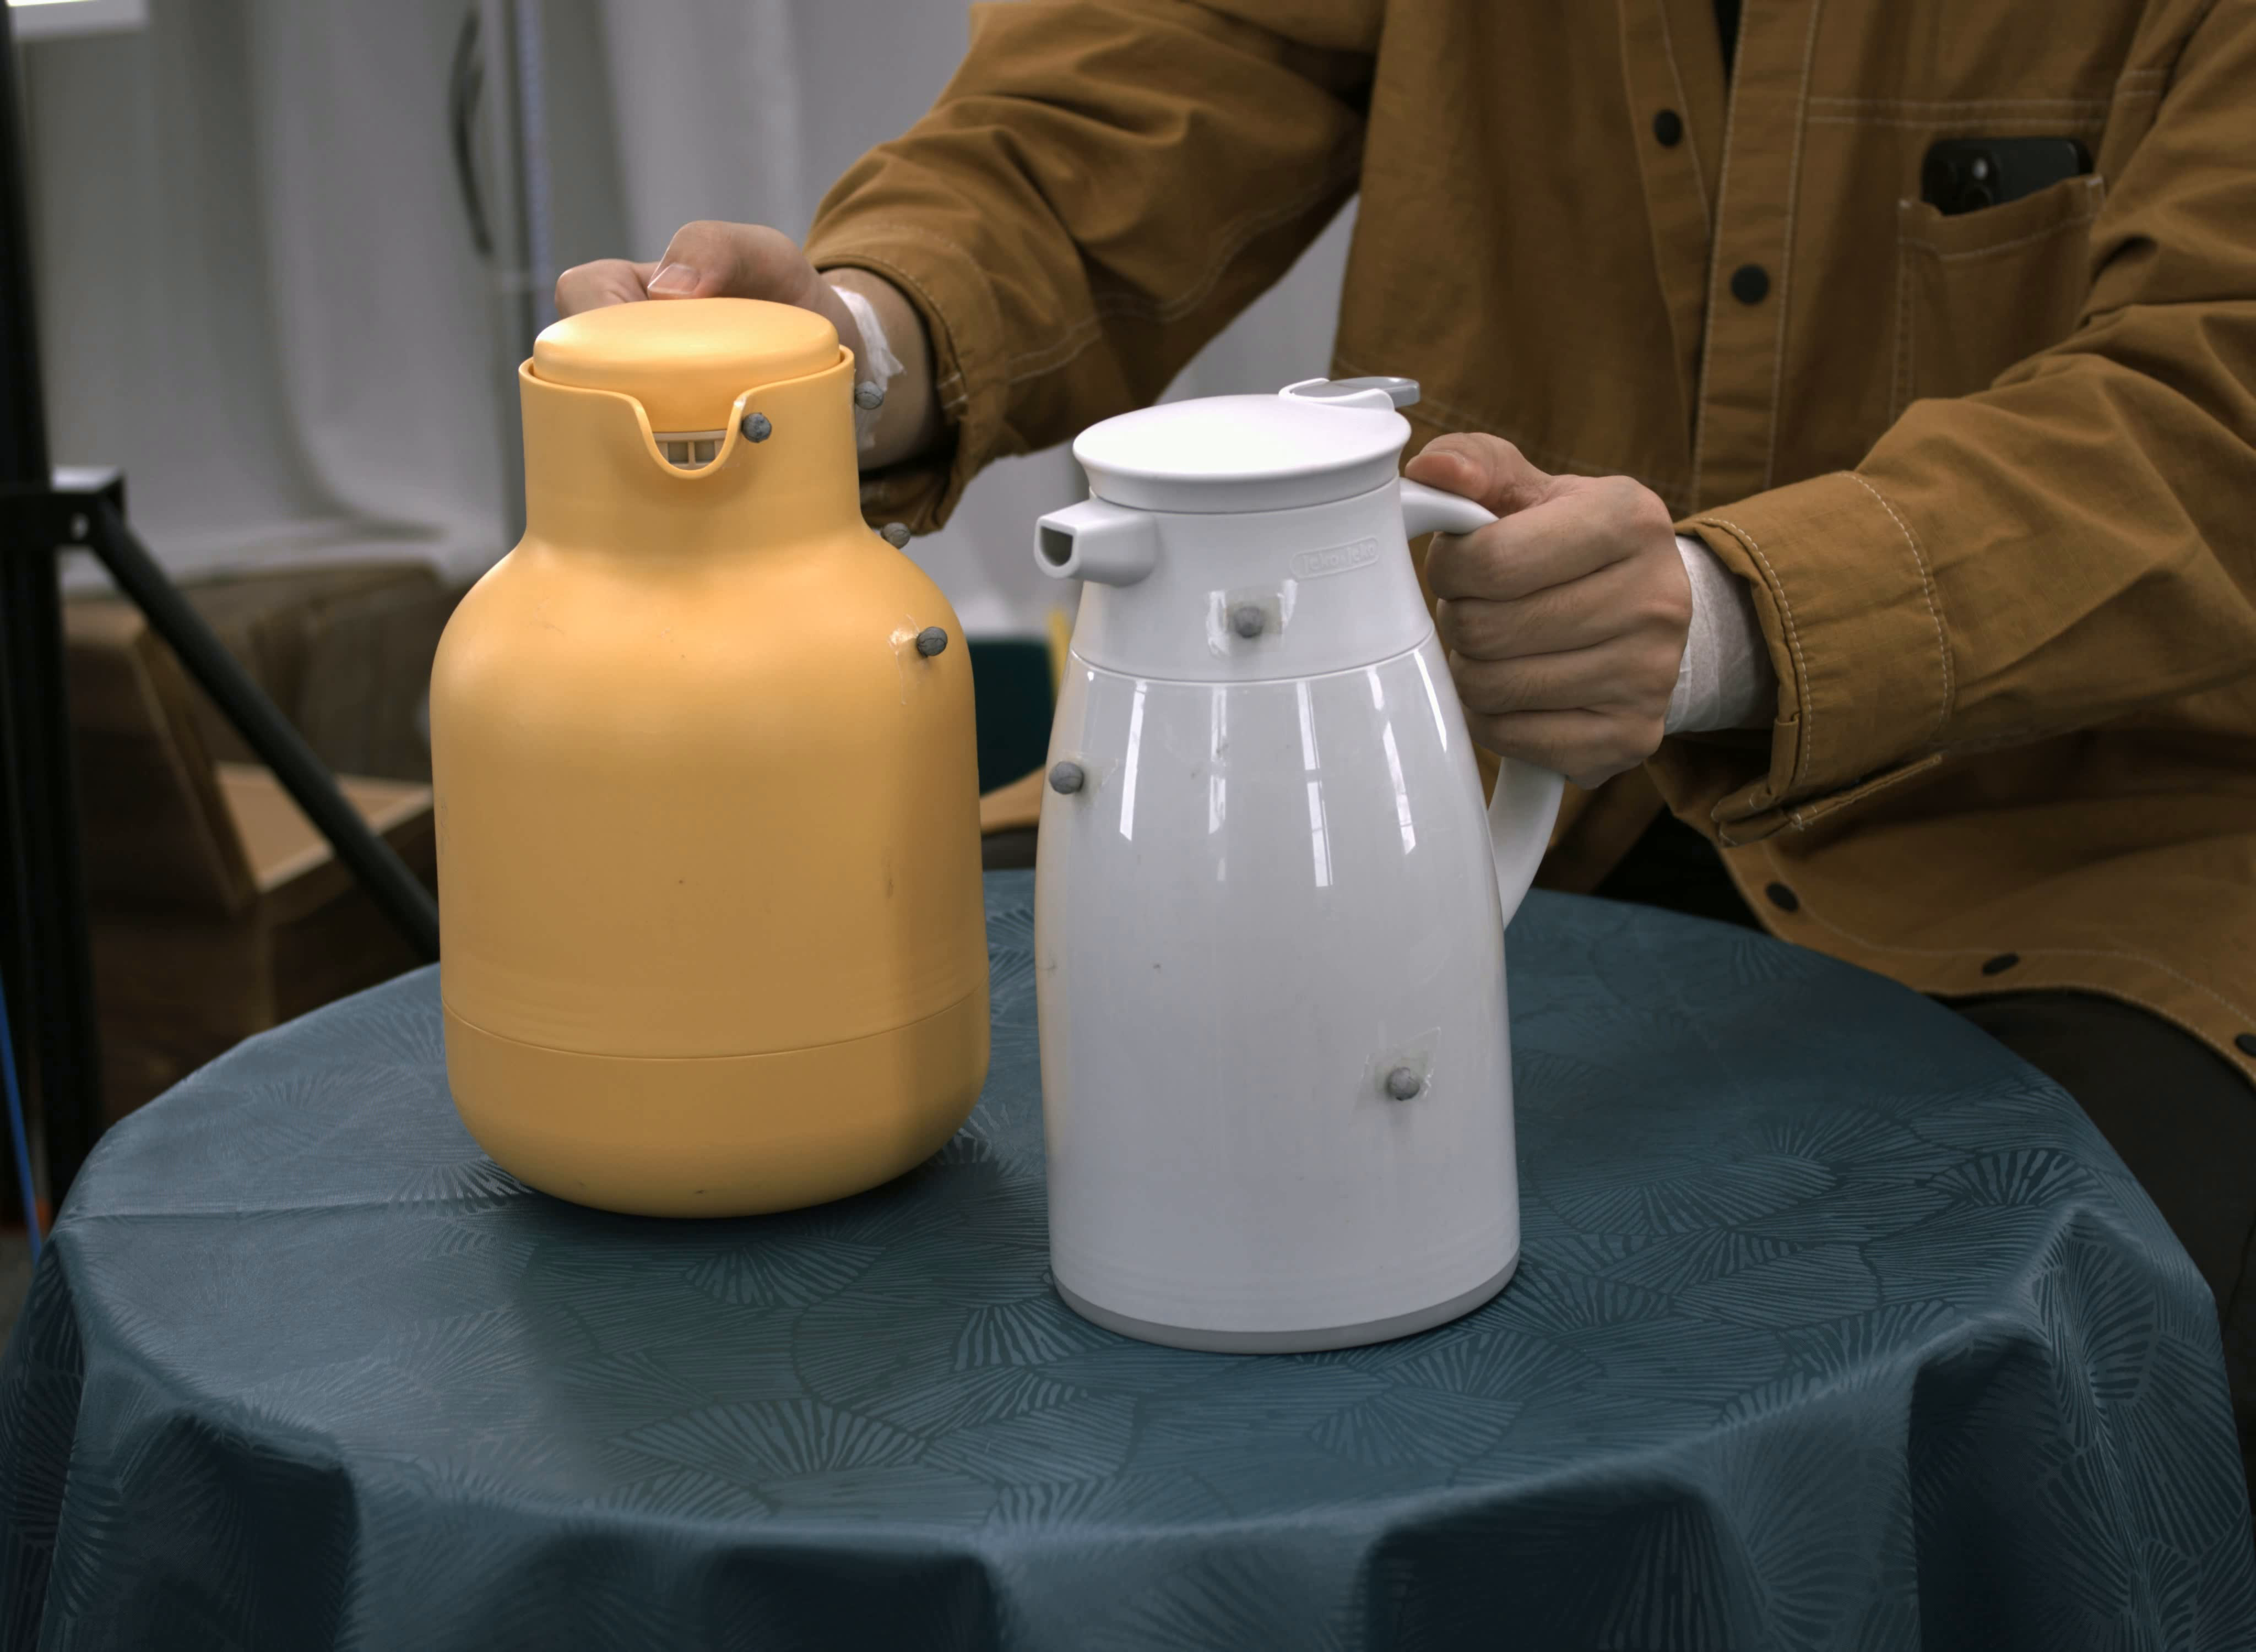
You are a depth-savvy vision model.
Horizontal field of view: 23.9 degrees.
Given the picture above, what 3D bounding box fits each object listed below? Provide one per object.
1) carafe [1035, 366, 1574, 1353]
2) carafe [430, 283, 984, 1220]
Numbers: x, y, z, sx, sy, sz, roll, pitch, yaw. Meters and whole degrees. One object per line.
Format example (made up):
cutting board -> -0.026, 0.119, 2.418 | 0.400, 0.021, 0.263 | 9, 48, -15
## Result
carafe -> 0.053, 0.001, 1.462 | 0.164, 0.248, 0.135 | -13, 18, -32
carafe -> -0.124, -0.030, 1.588 | 0.162, 0.260, 0.203 | 0, 16, -2
